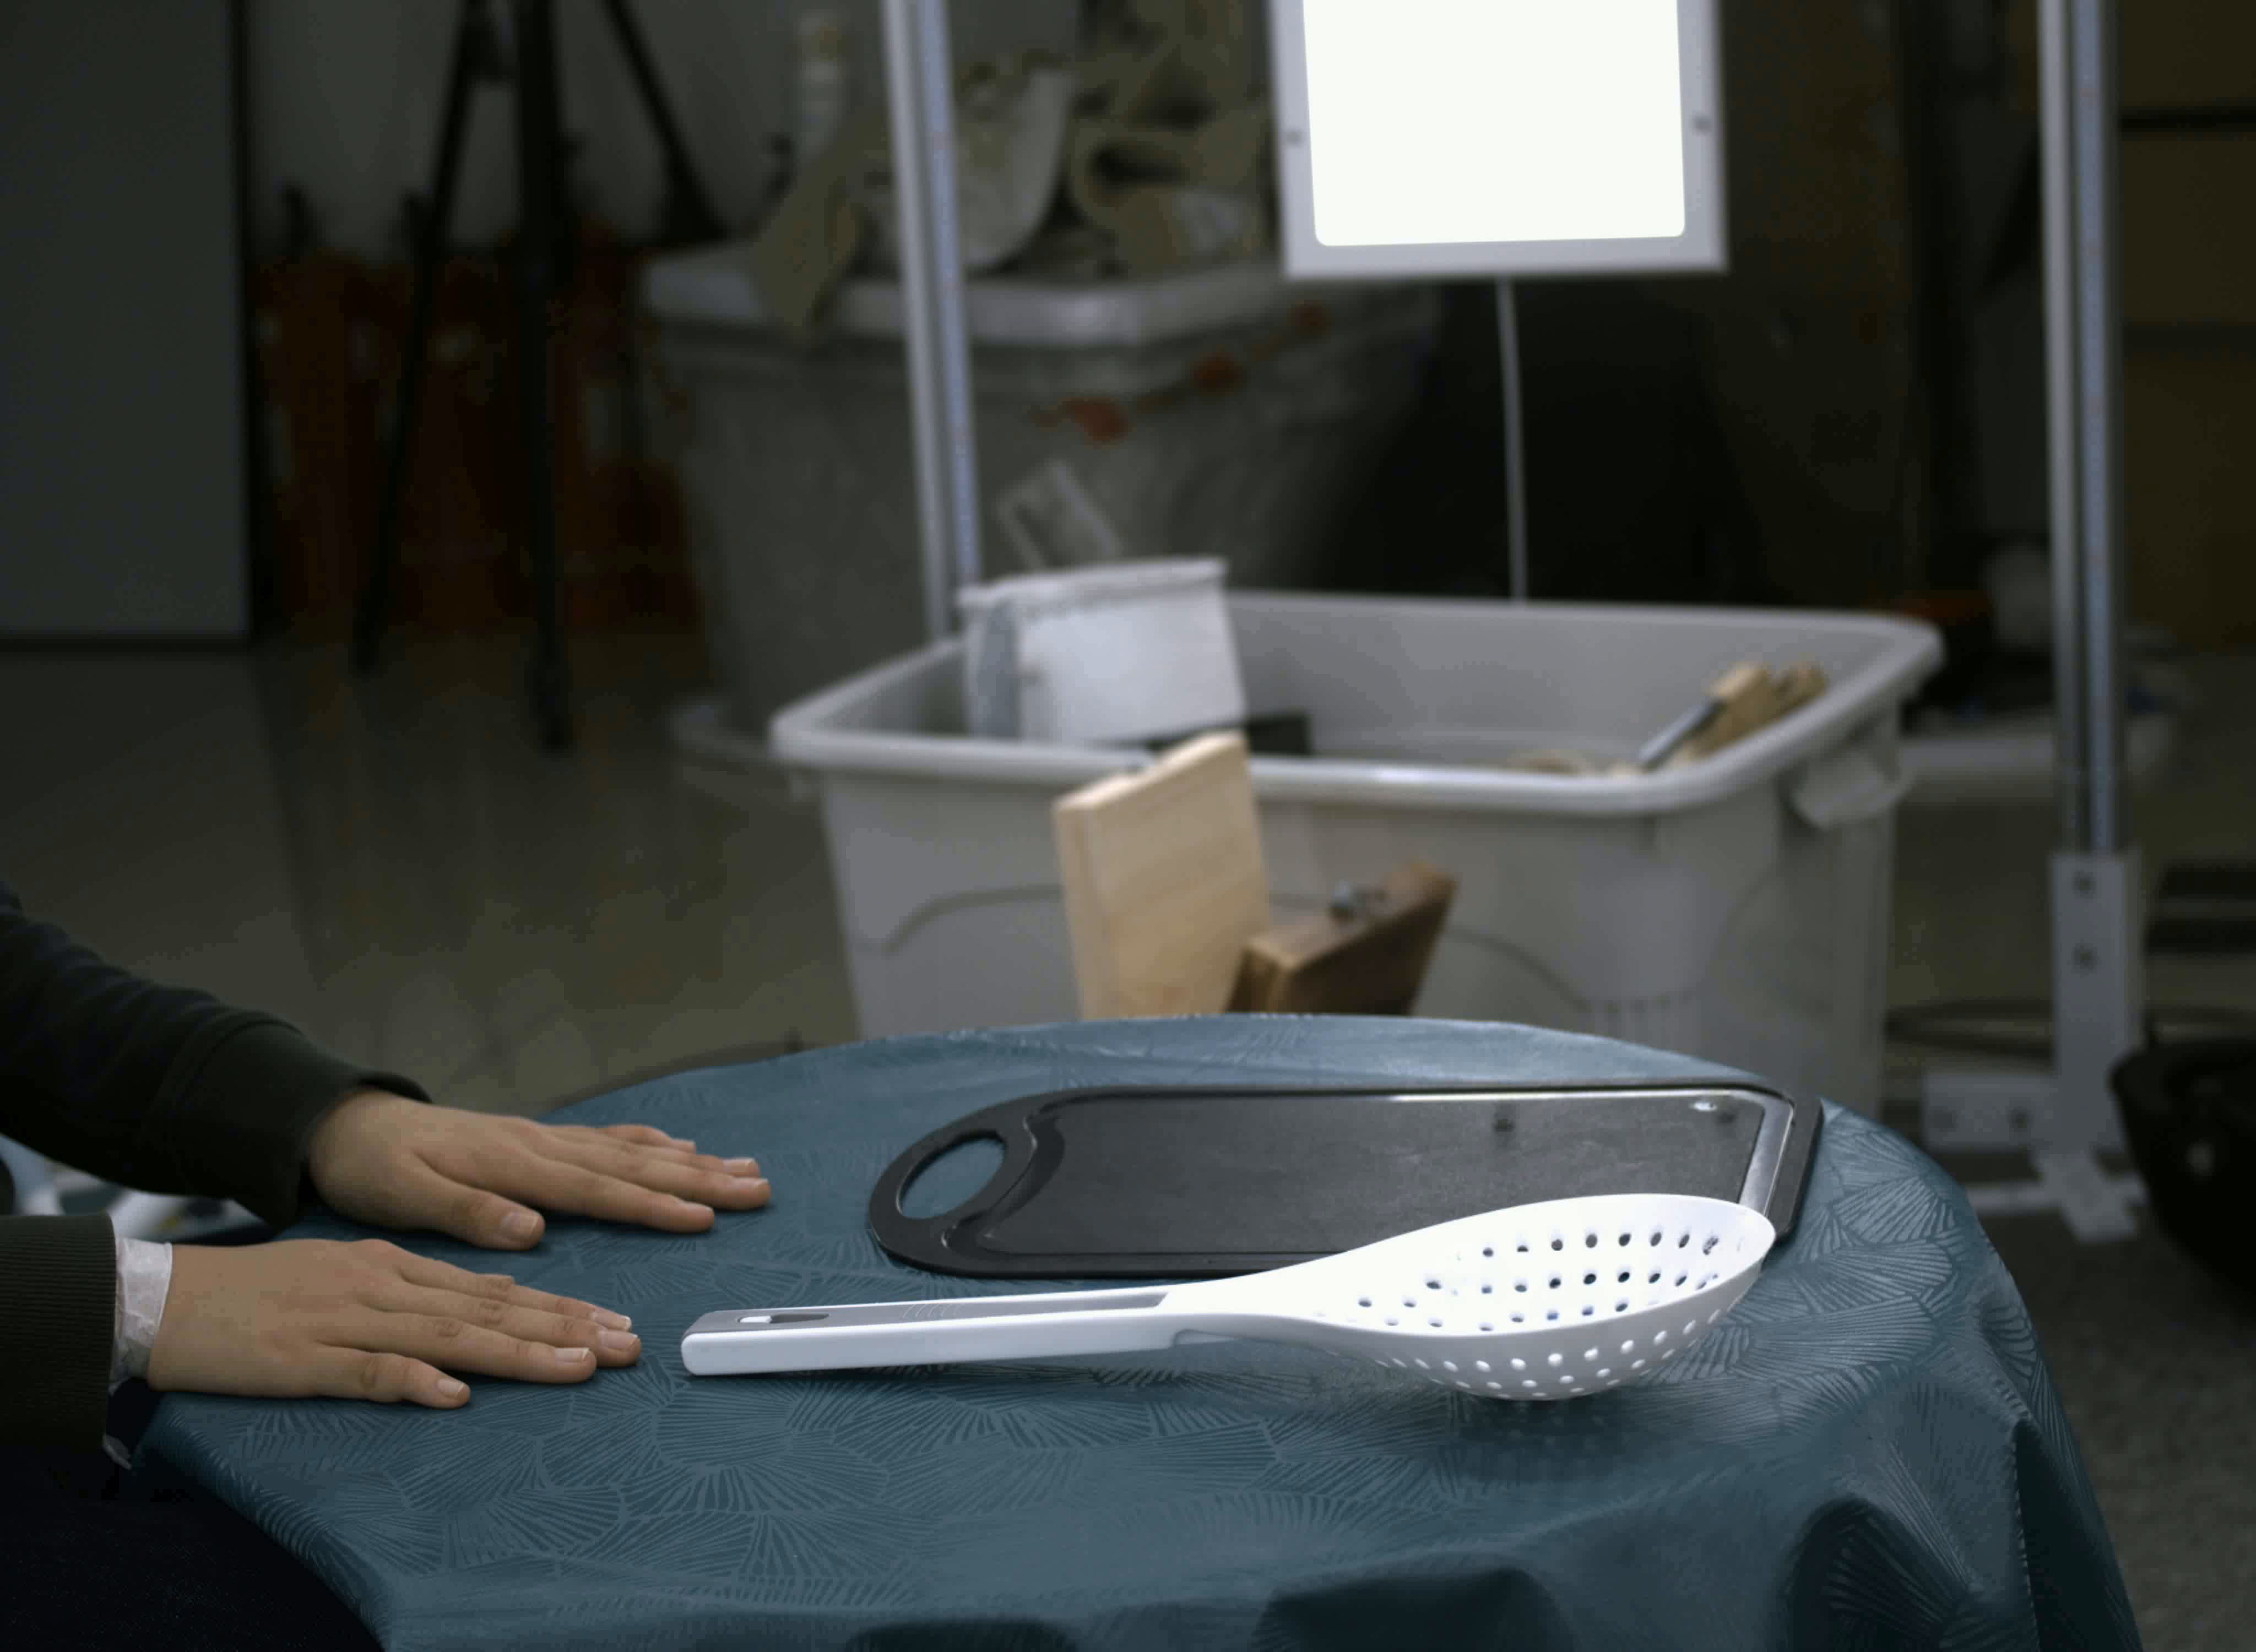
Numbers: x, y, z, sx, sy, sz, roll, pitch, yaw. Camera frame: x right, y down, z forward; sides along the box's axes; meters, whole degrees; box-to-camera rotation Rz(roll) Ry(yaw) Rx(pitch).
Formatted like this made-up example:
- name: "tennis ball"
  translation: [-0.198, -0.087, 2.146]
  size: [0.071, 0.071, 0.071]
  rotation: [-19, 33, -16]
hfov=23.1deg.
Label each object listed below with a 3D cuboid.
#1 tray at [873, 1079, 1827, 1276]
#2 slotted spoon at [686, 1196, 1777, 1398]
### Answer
- name: "tray"
  translation: [0.074, 0.118, 1.891]
  size: [0.328, 0.010, 0.208]
  rotation: [-2, 14, 14]
- name: "slotted spoon"
  translation: [0.028, 0.149, 1.699]
  size: [0.354, 0.046, 0.134]
  rotation: [-1, 12, 19]
